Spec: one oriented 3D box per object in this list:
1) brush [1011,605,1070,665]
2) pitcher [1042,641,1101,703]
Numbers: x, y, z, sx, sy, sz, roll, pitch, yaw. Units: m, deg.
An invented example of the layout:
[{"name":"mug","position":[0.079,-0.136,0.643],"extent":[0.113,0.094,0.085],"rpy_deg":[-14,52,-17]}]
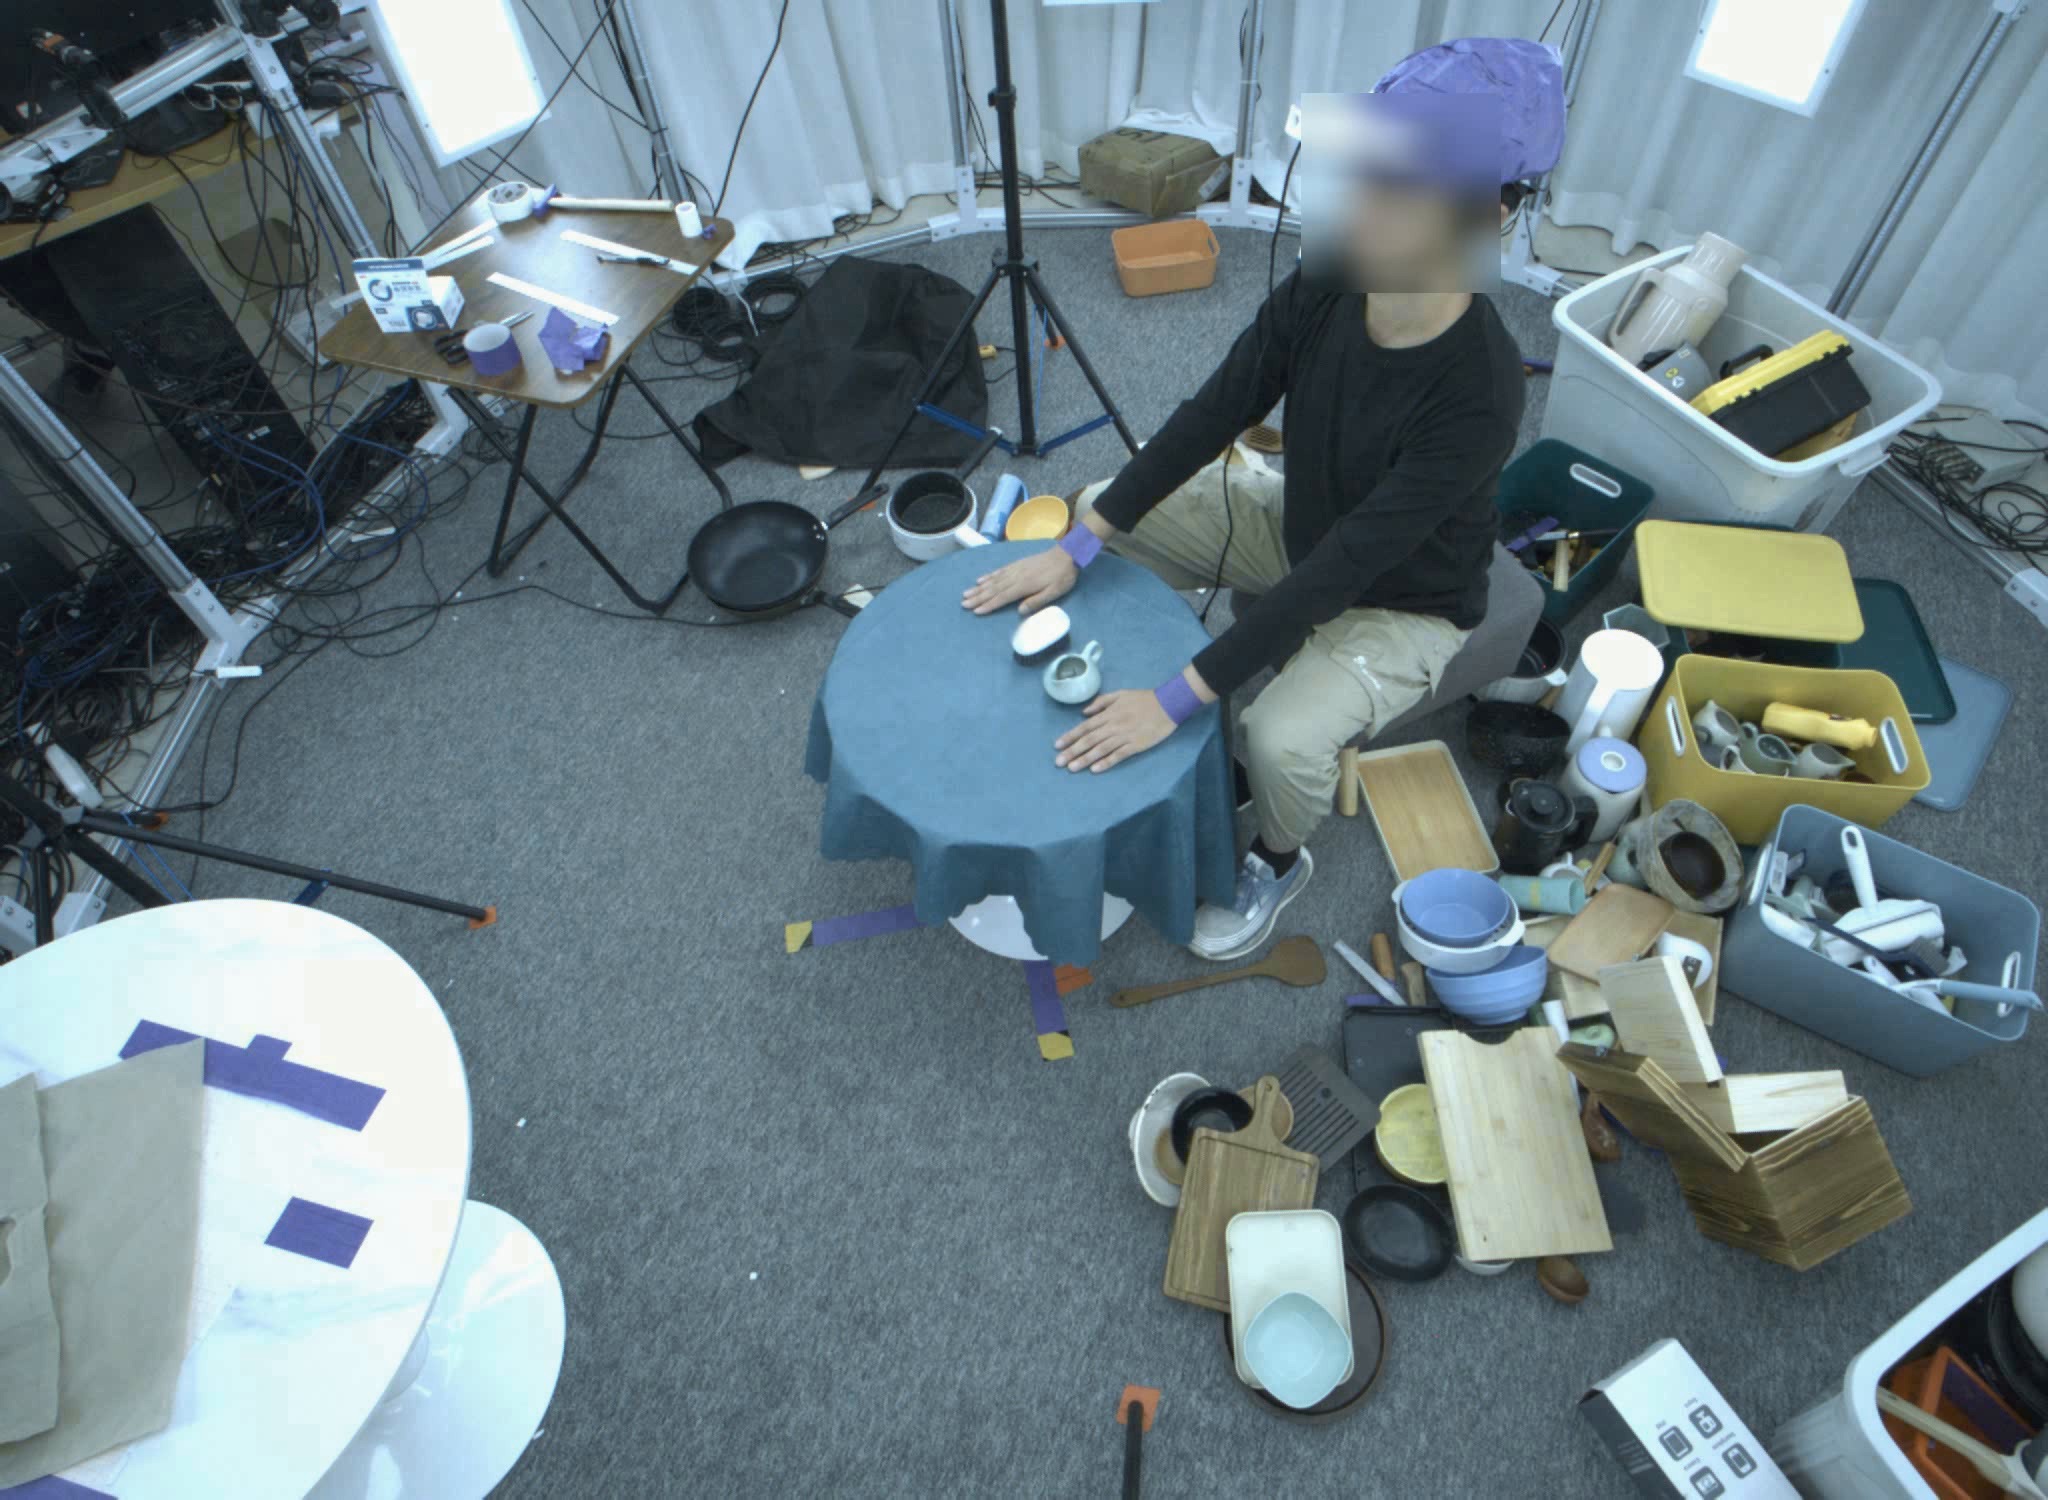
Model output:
[{"name":"brush","position":[0.025,-0.183,1.872],"extent":[0.100,0.073,0.049],"rpy_deg":[-32,60,-17]},{"name":"pitcher","position":[0.078,-0.117,1.837],"extent":[0.084,0.061,0.108],"rpy_deg":[33,59,23]}]
